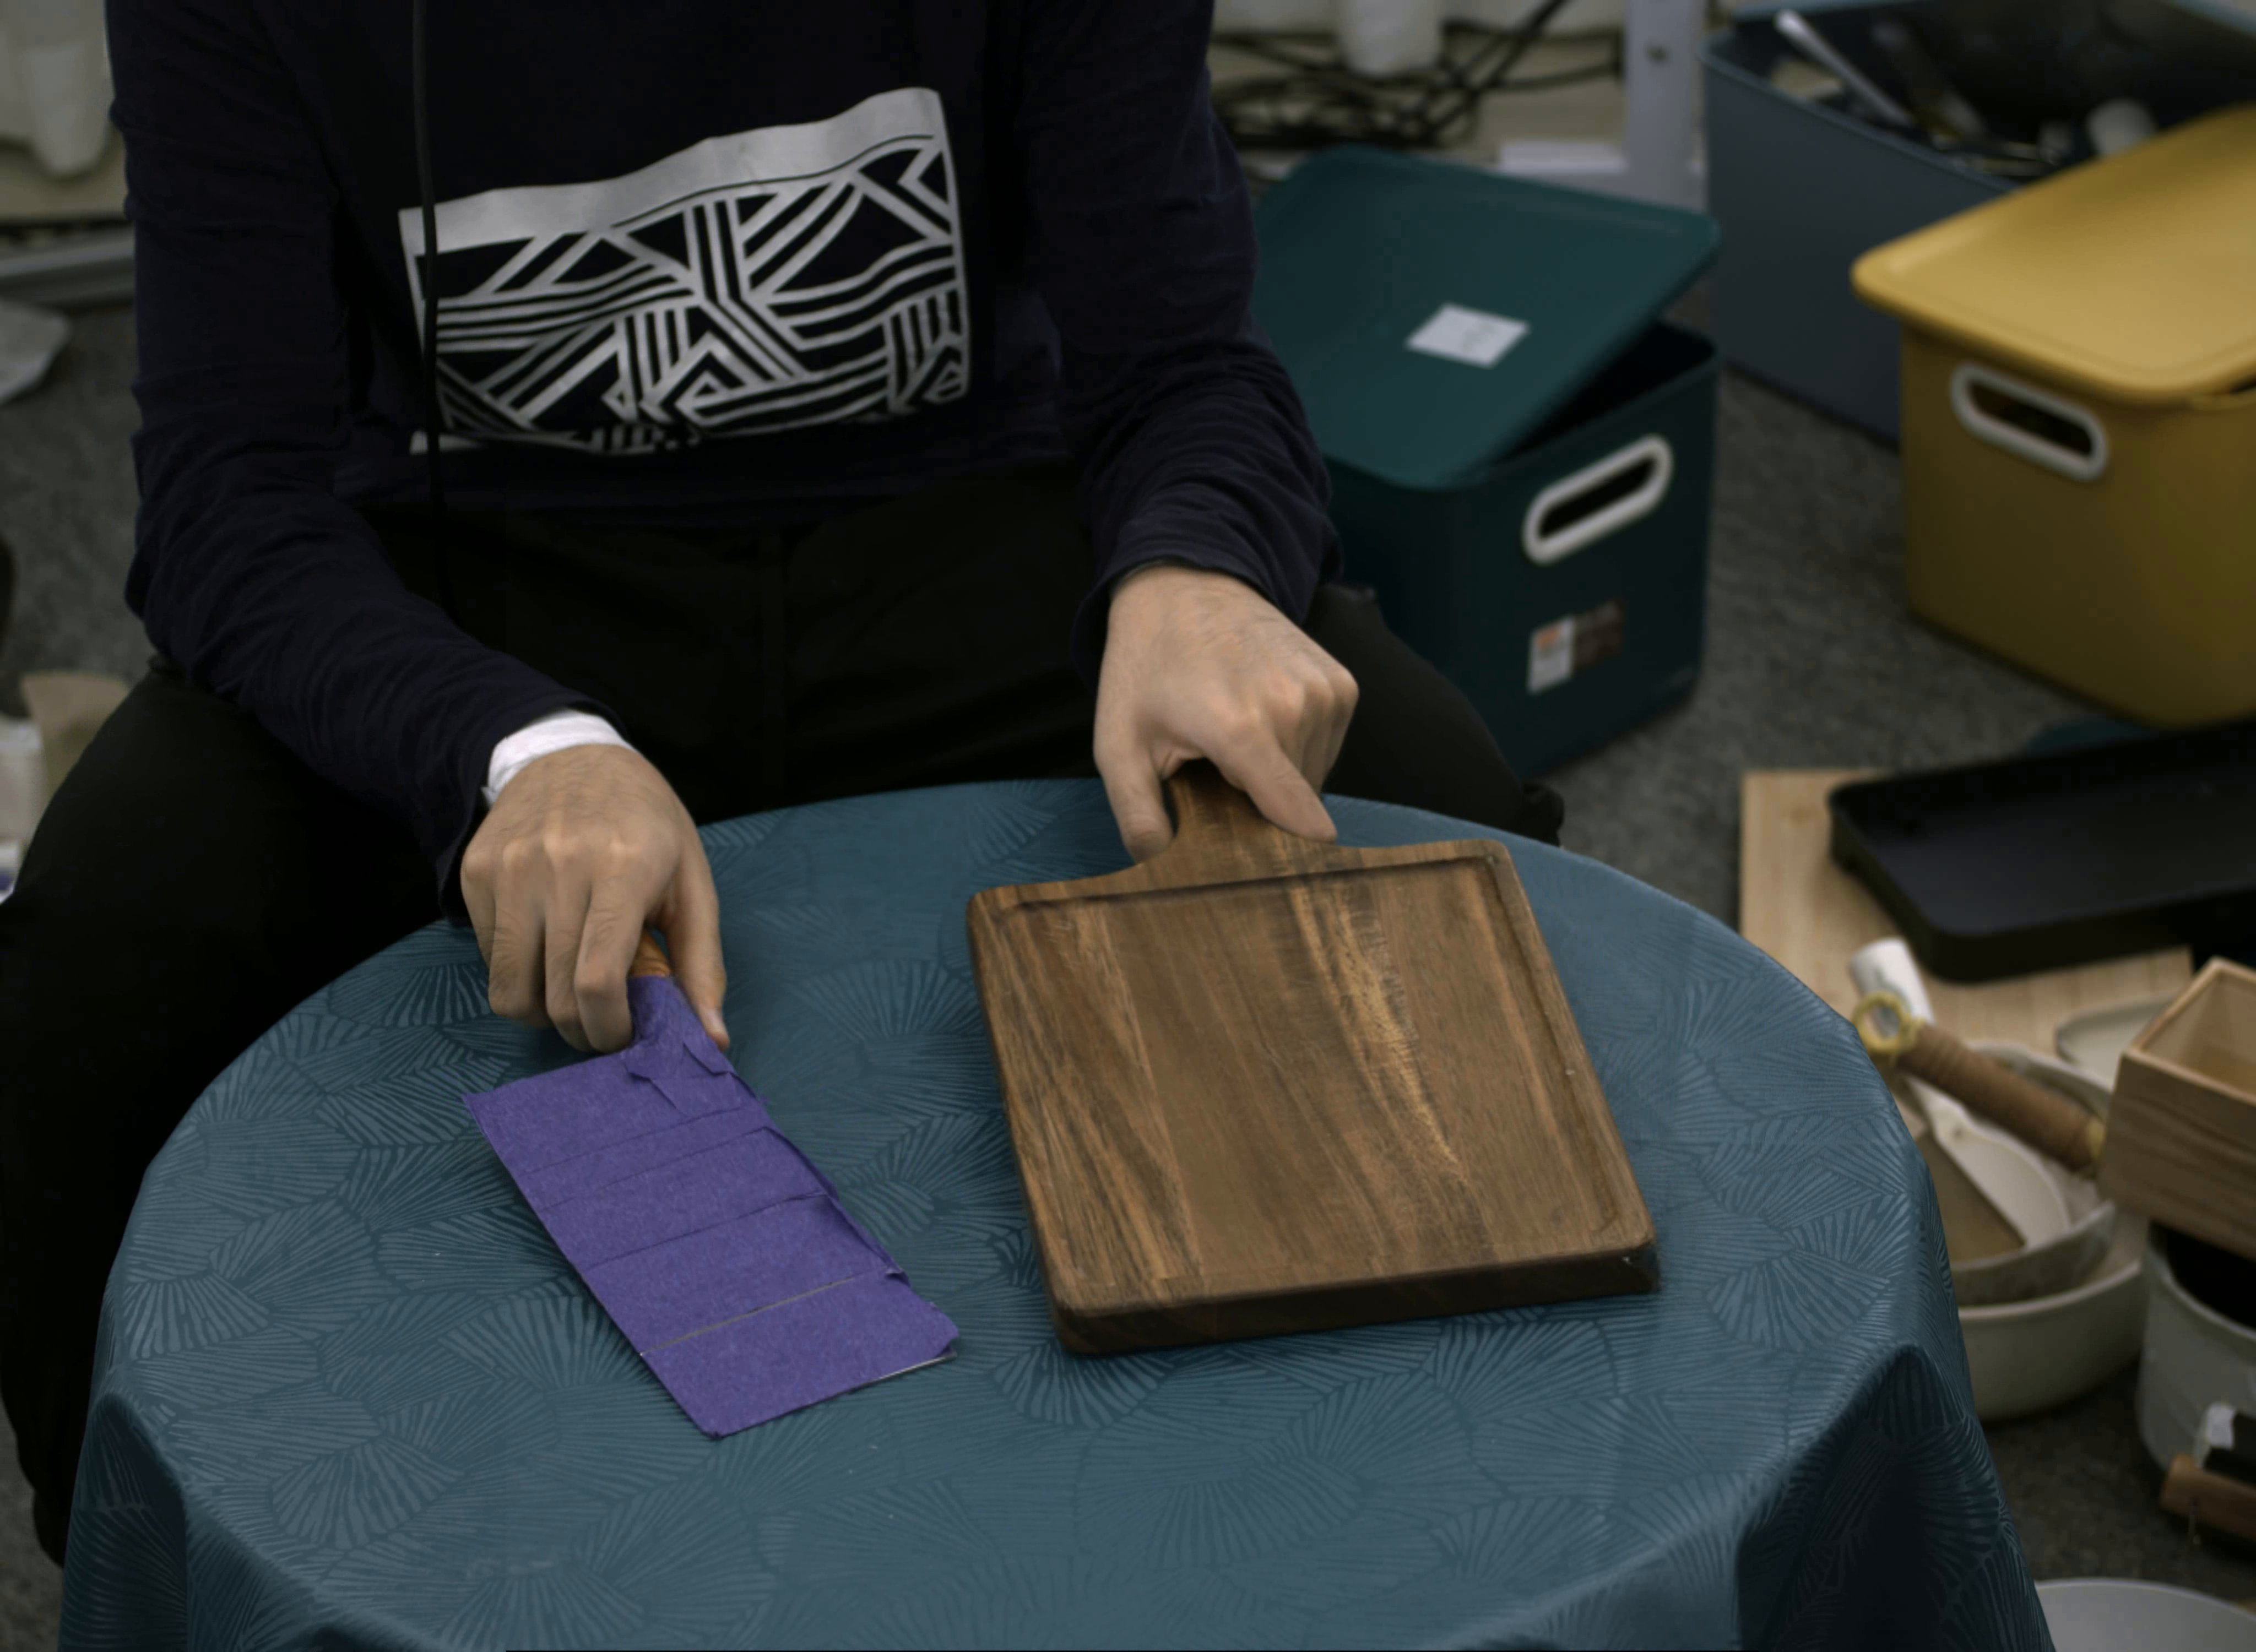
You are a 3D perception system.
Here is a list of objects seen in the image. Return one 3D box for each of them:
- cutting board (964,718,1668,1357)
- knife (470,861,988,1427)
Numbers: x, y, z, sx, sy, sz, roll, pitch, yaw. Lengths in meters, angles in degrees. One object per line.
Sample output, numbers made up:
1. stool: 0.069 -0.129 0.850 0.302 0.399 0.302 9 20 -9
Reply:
1. cutting board: 0.050 0.060 1.925 0.200 0.023 0.357 -6 32 -6
2. knife: -0.161 0.101 1.872 0.104 0.032 0.317 -16 33 -23
